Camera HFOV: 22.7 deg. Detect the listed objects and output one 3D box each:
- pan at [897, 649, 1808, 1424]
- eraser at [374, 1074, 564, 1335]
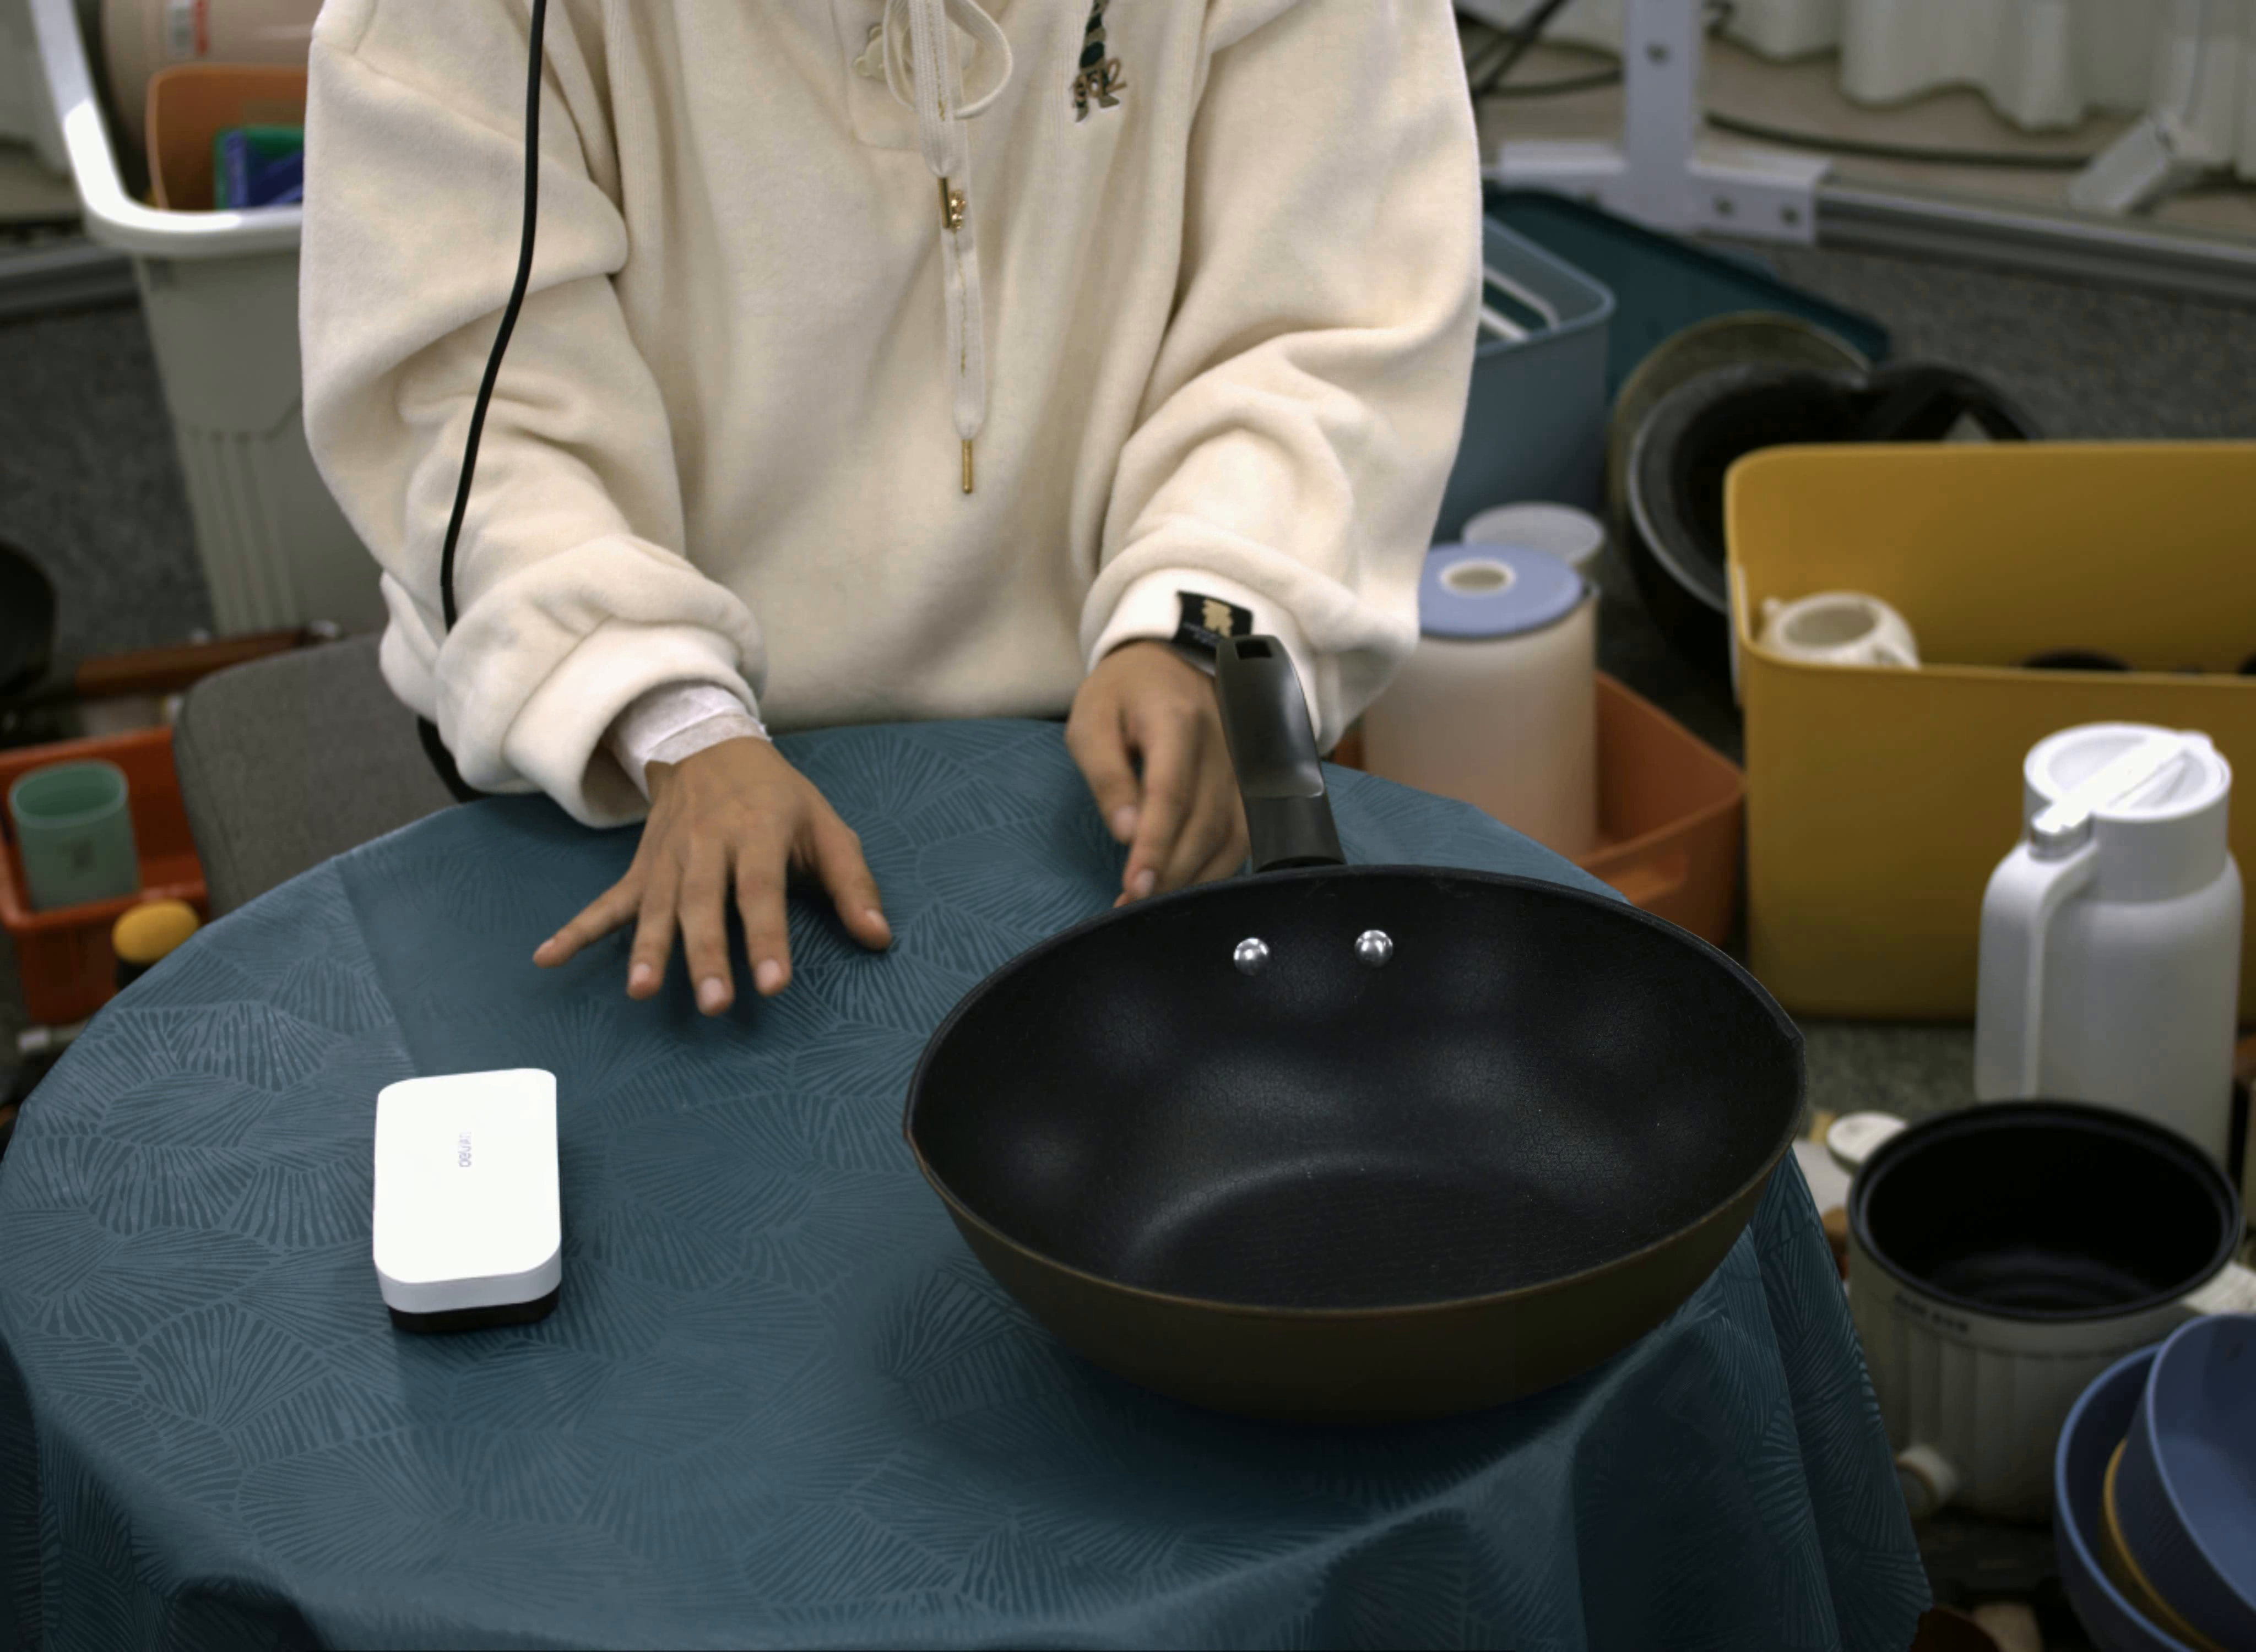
[{"bbox_3d":[0.065,0.071,1.864,0.287,0.086,0.469,-4,26,-3],"label":"pan"},{"bbox_3d":[-0.216,0.121,1.852,0.063,0.034,0.133,-3,28,-5],"label":"eraser"}]
